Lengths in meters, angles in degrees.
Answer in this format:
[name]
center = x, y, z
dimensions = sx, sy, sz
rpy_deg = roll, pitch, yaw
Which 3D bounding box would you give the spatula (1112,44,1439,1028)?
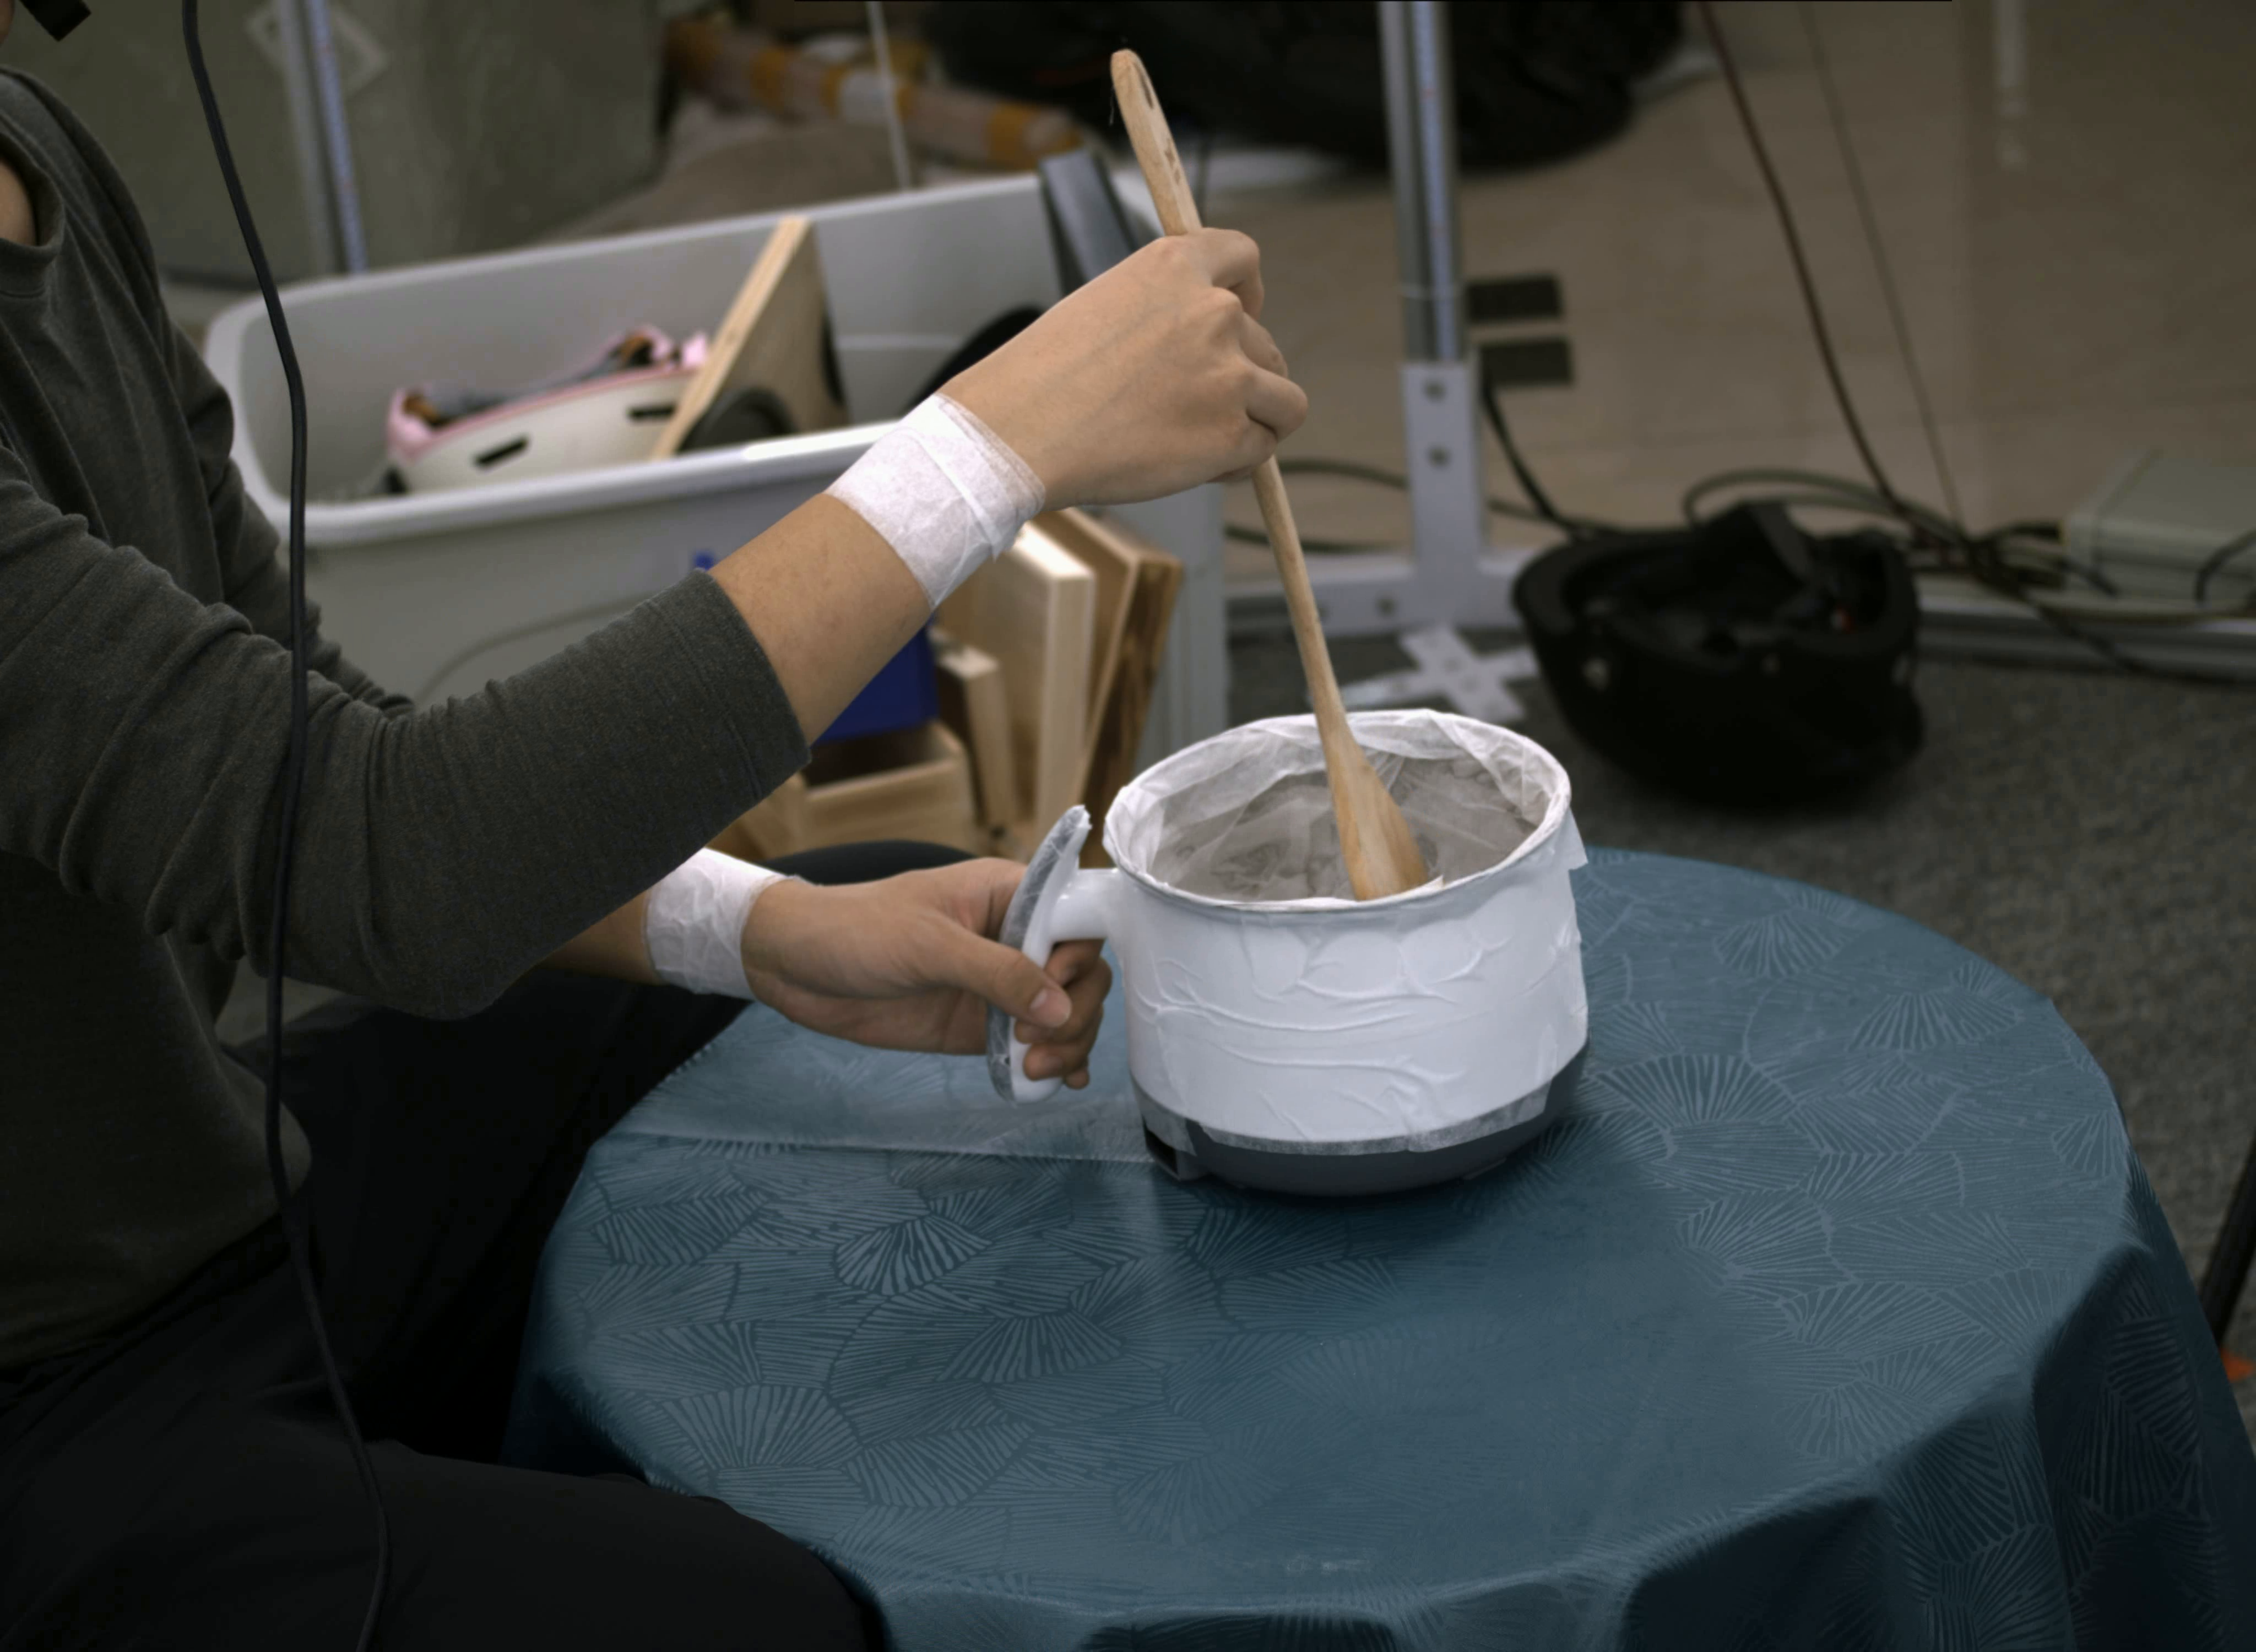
[spatula]
center = 0.057, -0.102, 2.046
dimensions = 0.018, 0.397, 0.094
rpy_deg = -13, 27, 10

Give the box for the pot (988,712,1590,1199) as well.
[pot]
center = 0.058, 0.053, 2.162
dimensions = 0.233, 0.139, 0.176
rpy_deg = -4, 25, 8
